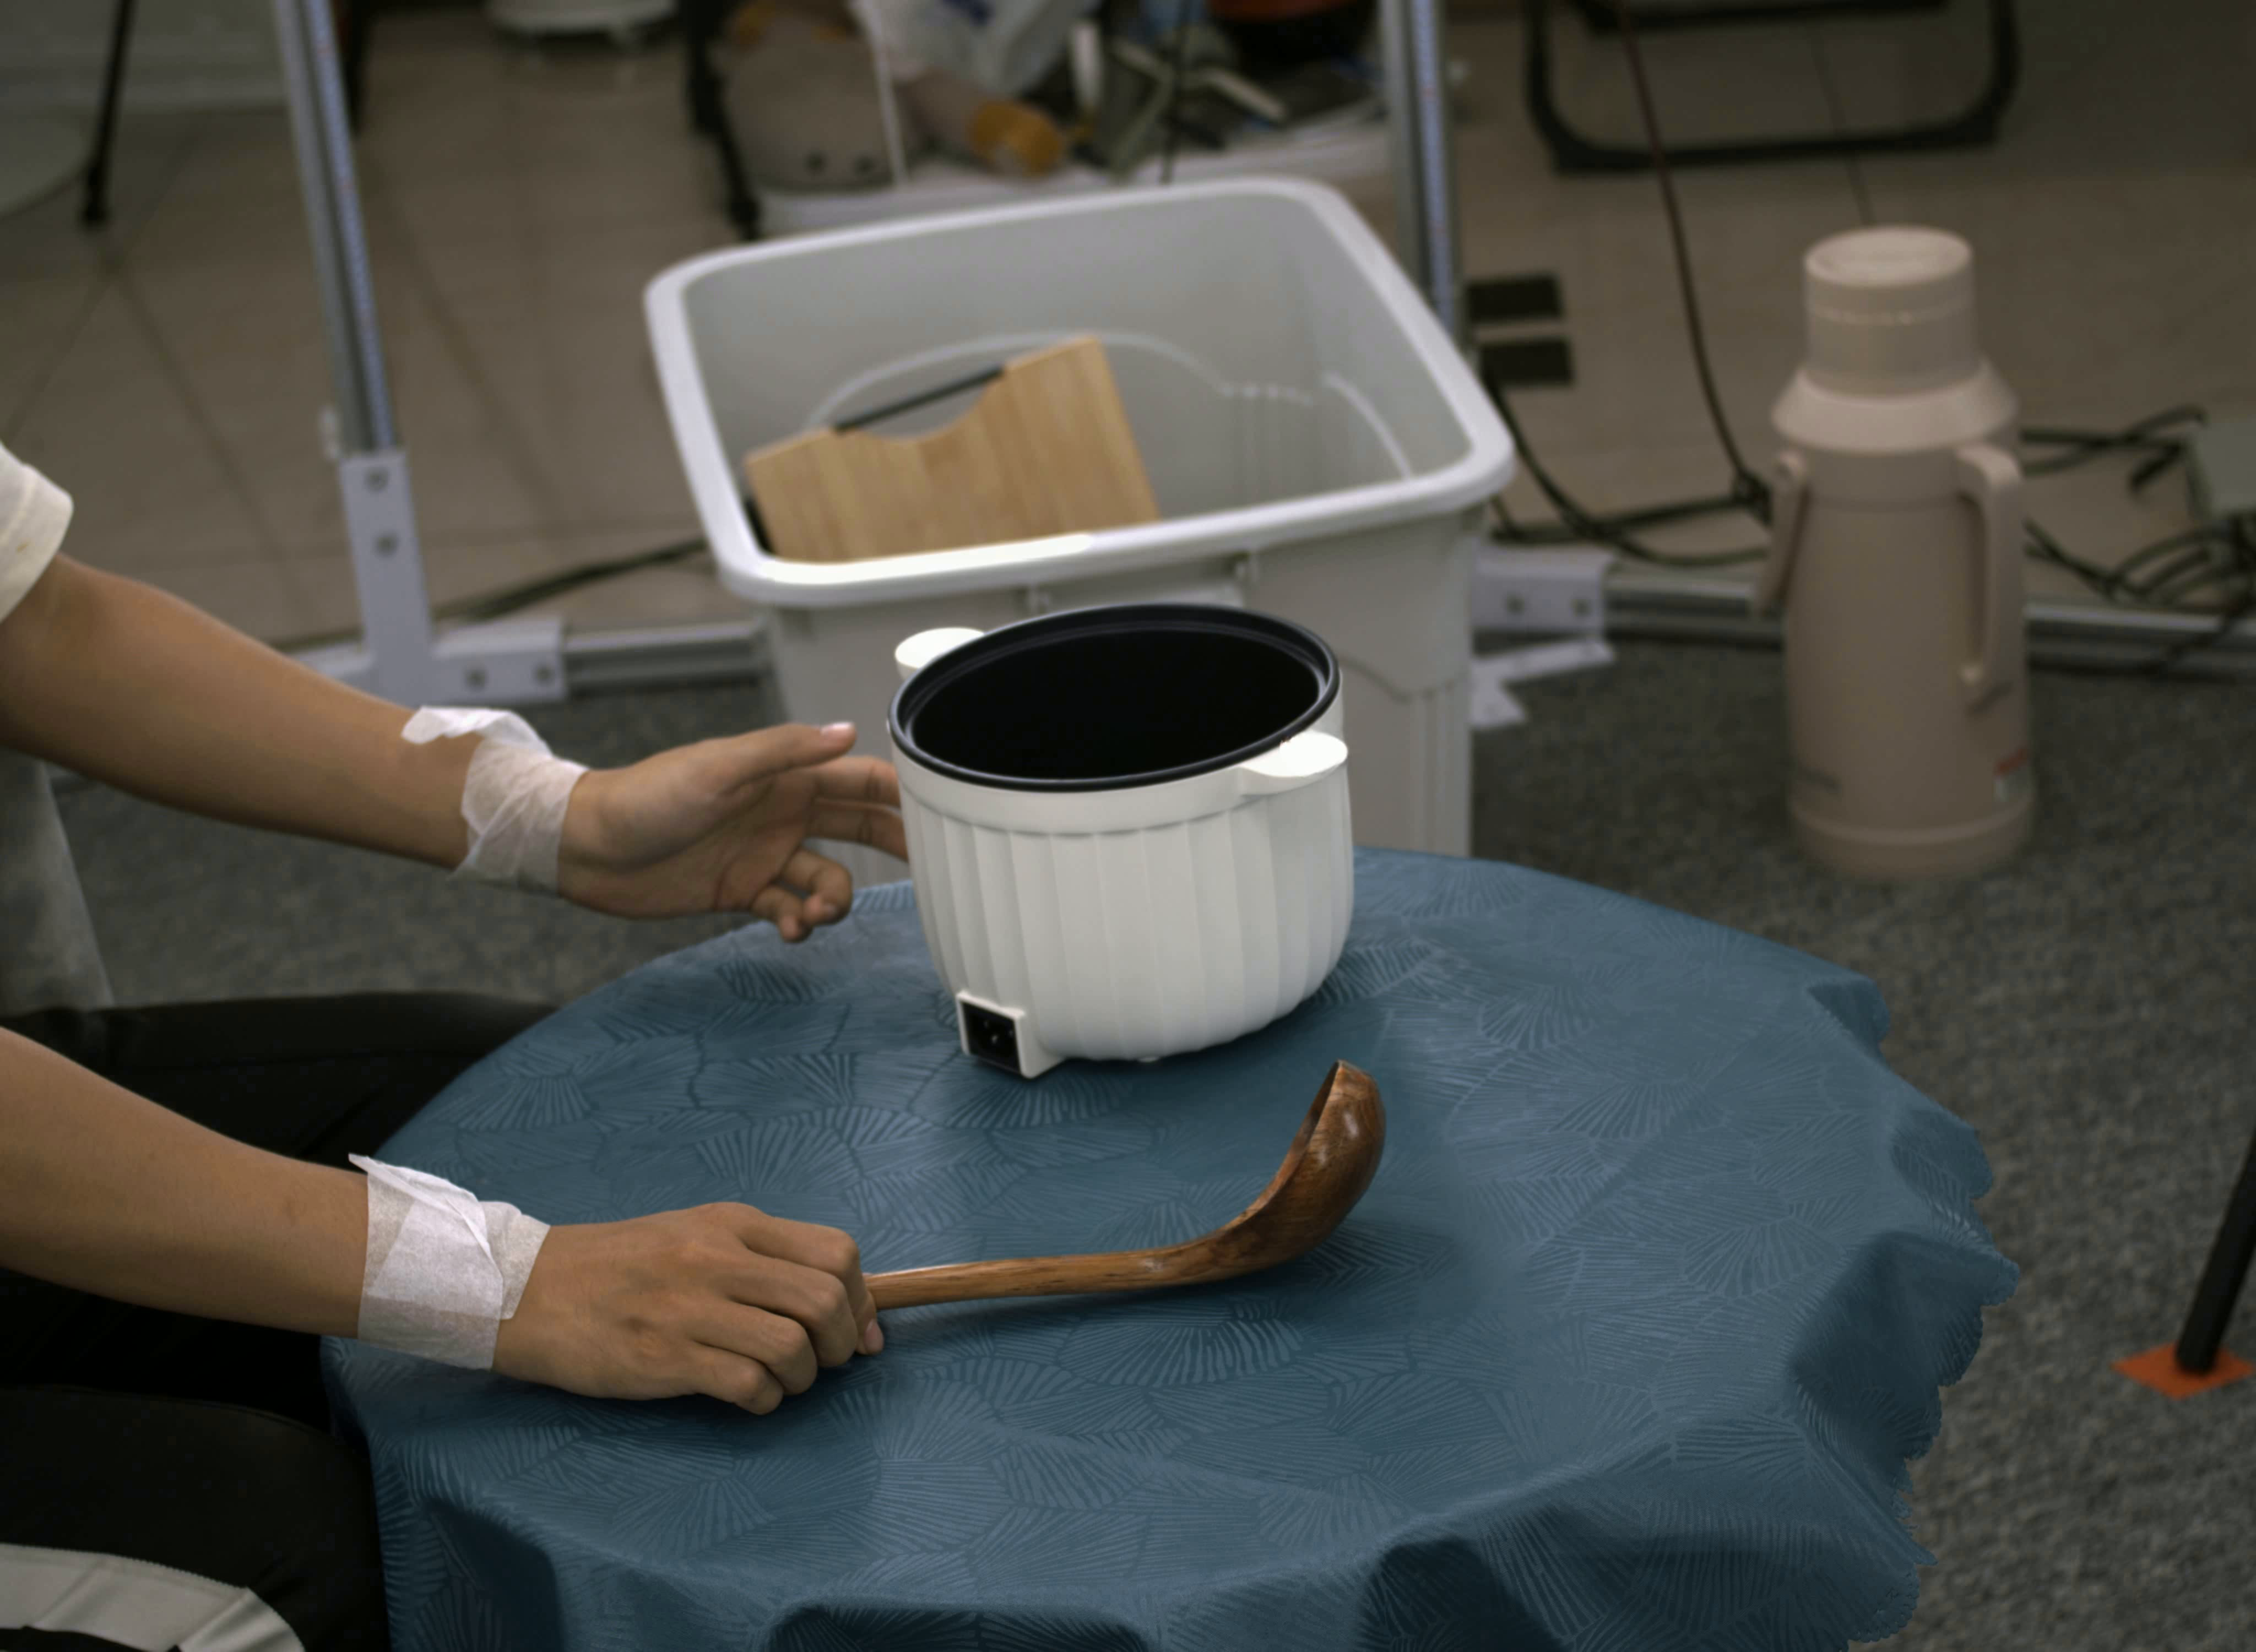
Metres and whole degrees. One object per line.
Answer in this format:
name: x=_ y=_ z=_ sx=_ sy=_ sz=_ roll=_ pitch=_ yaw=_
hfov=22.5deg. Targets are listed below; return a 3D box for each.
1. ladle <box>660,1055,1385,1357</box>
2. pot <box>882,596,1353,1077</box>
ladle: x=-0.040 y=0.138 z=2.073 sx=0.273 sy=0.076 sz=0.082 roll=-8 pitch=-6 yaw=-1
pot: x=0.003 y=0.002 z=2.275 sx=0.238 sy=0.145 sz=0.189 roll=19 pitch=39 yaw=41
